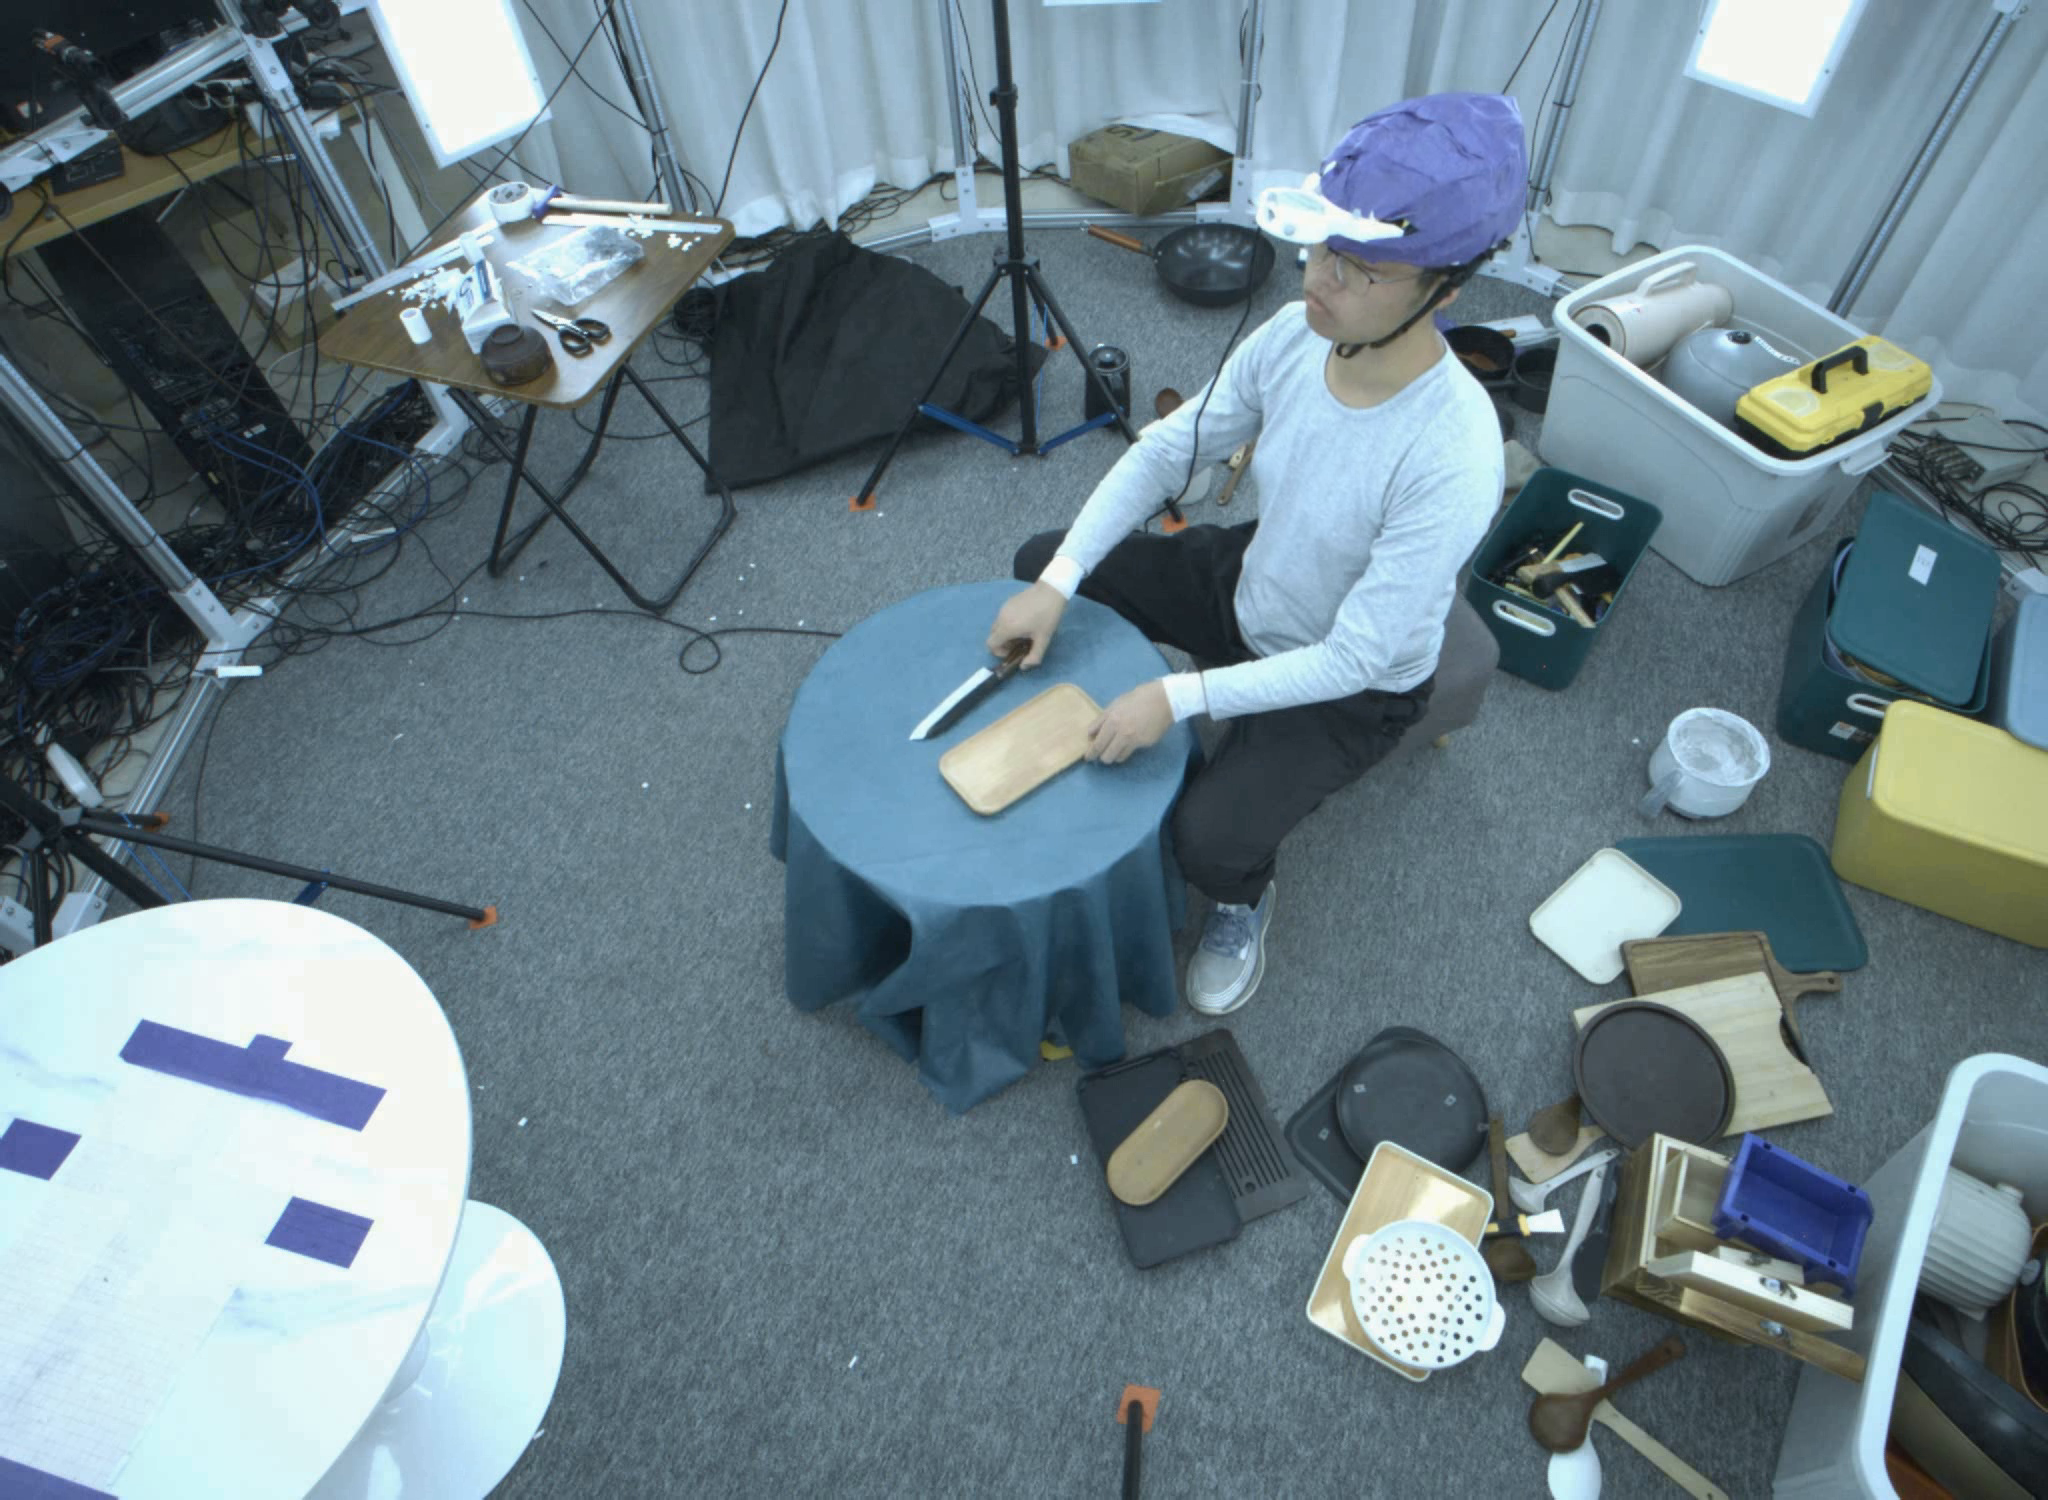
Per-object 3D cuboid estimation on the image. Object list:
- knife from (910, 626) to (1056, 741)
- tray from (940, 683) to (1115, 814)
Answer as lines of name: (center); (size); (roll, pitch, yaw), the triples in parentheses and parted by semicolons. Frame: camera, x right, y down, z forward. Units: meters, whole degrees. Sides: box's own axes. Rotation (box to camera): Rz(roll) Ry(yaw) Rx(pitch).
knife: (-0.061, -0.101, 1.856); (0.291, 0.020, 0.049); (-39, 49, -20)
tray: (0.006, -0.004, 1.788); (0.253, 0.023, 0.128); (-31, 62, -20)
